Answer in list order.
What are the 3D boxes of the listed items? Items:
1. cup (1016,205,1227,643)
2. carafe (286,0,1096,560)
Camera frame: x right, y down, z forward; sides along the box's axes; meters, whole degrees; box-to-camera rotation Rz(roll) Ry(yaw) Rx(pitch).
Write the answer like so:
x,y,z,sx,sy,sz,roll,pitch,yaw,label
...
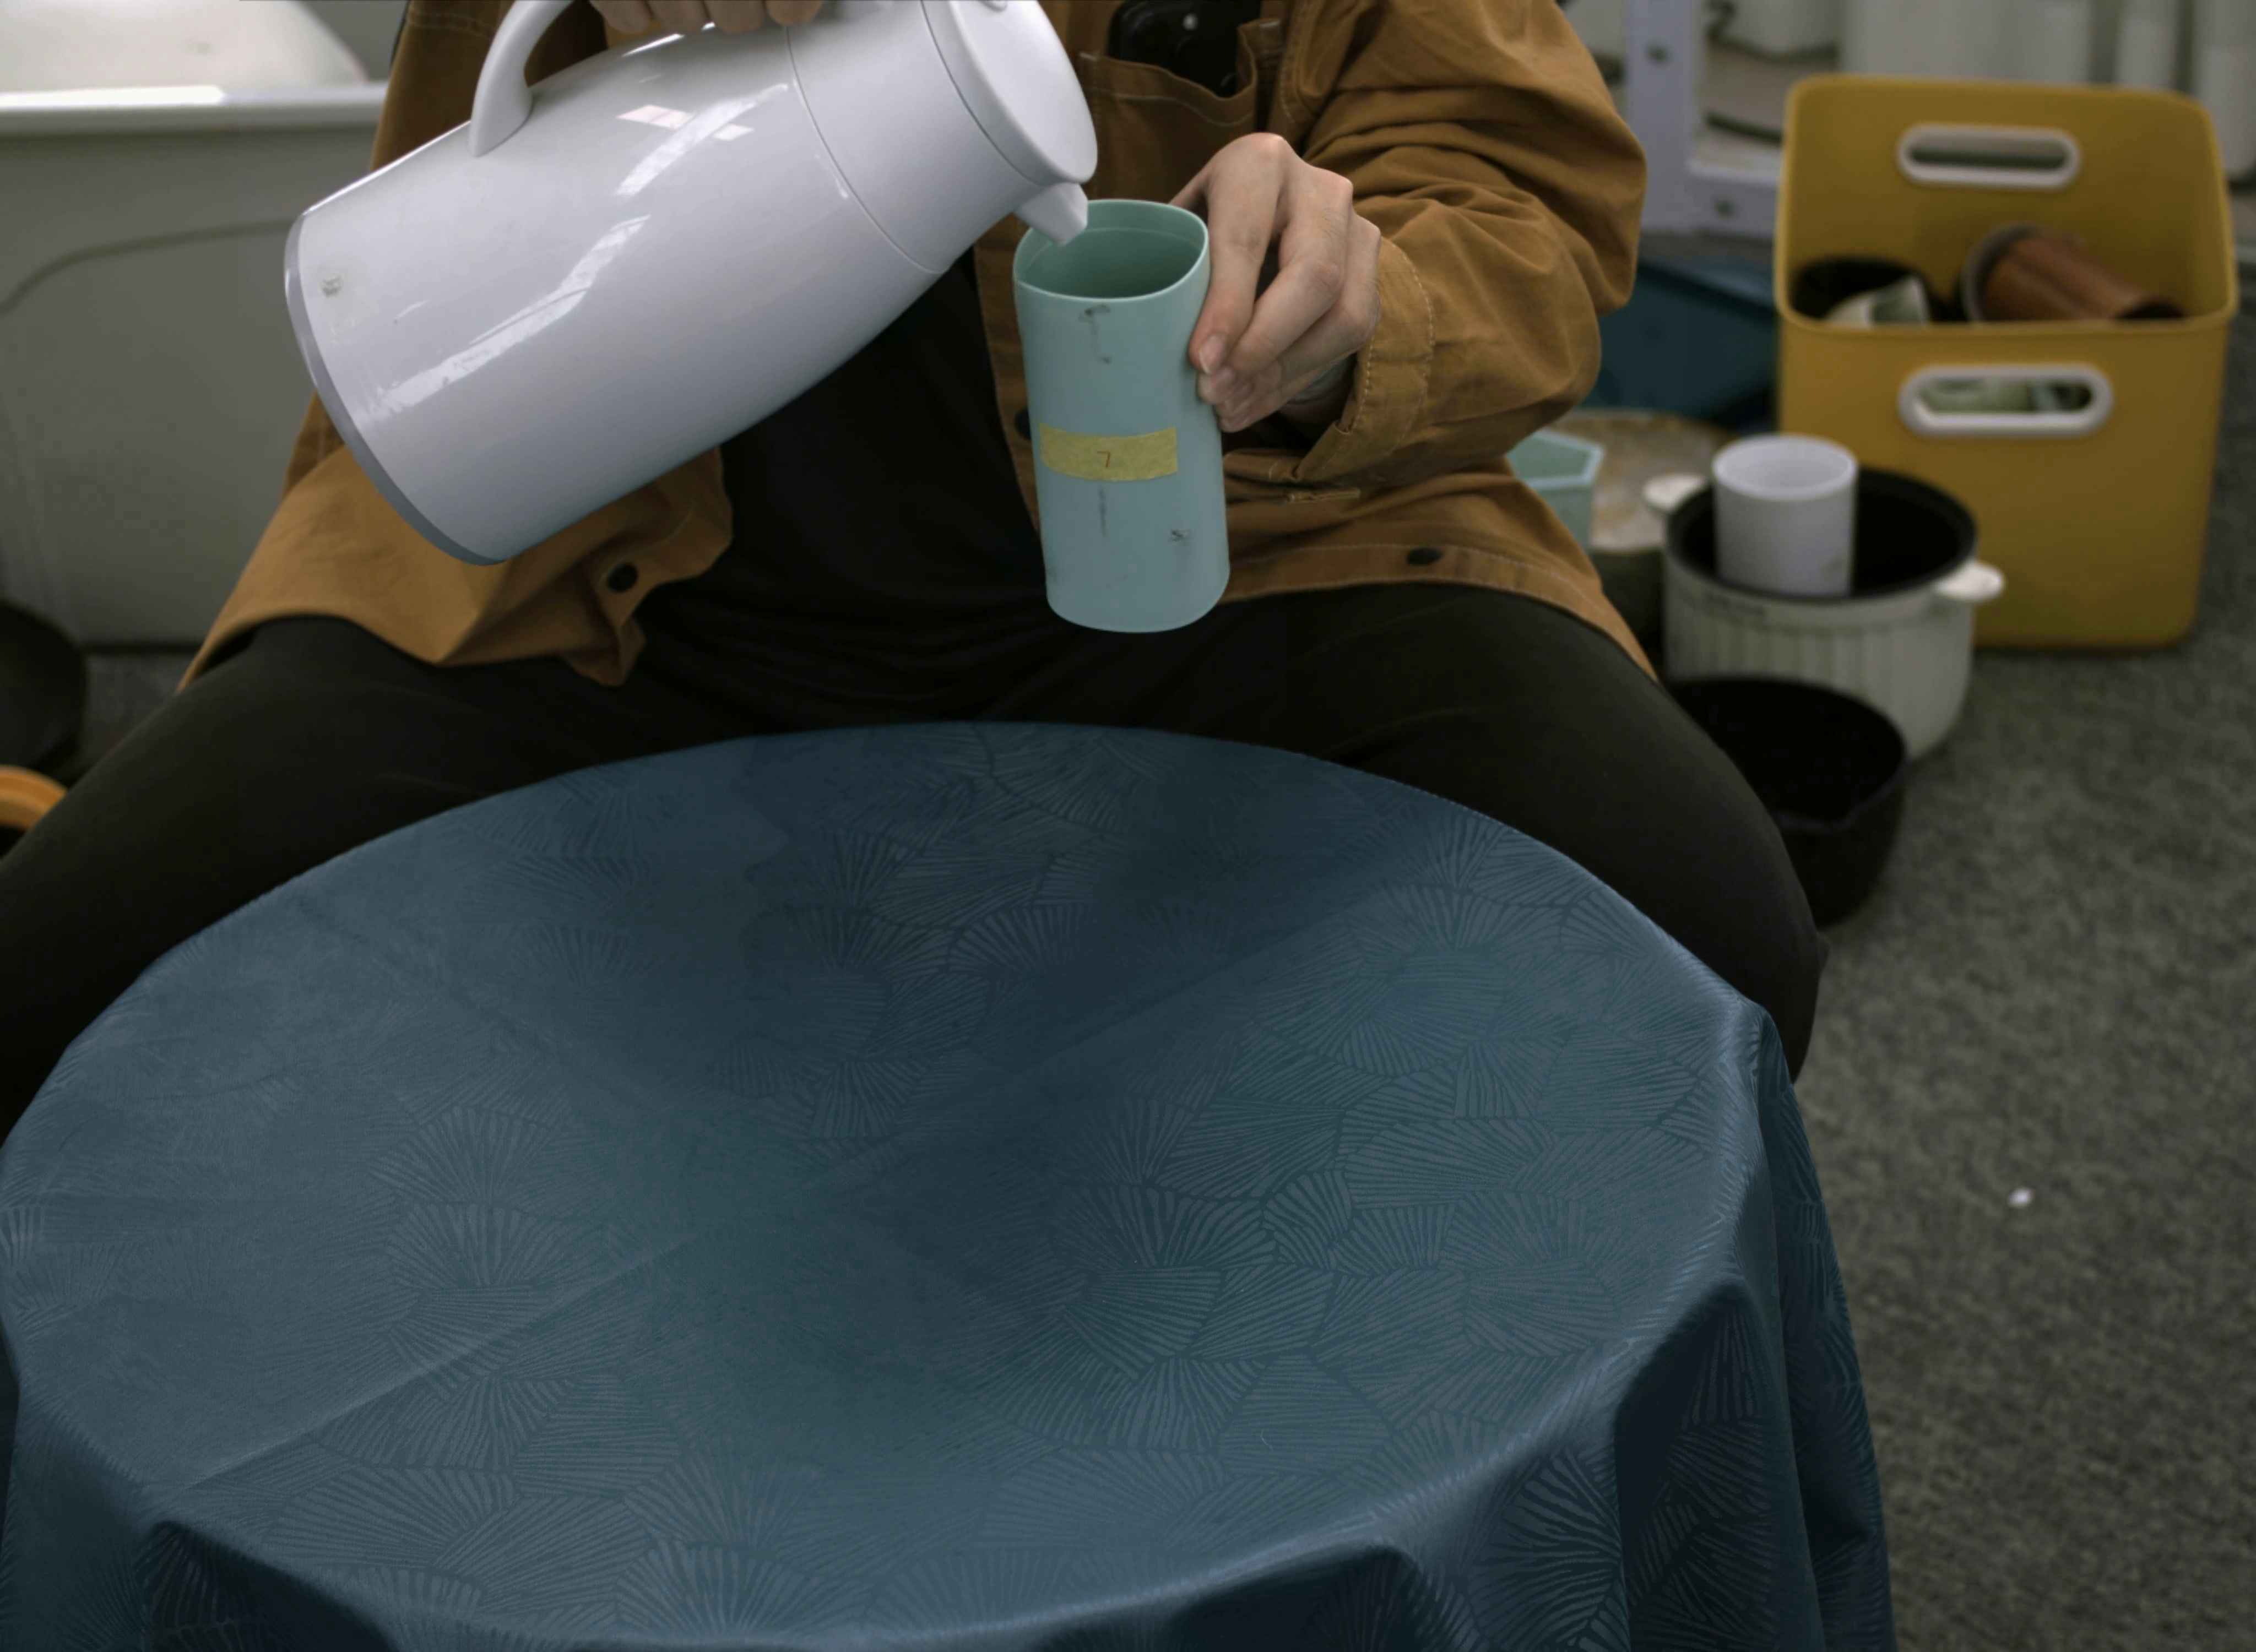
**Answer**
x,y,z,sx,sy,sz,roll,pitch,yaw,label
0.000,-0.133,1.856,0.066,0.130,0.068,-2,35,2,cup
-0.143,-0.210,1.802,0.246,0.166,0.135,-27,32,18,carafe
